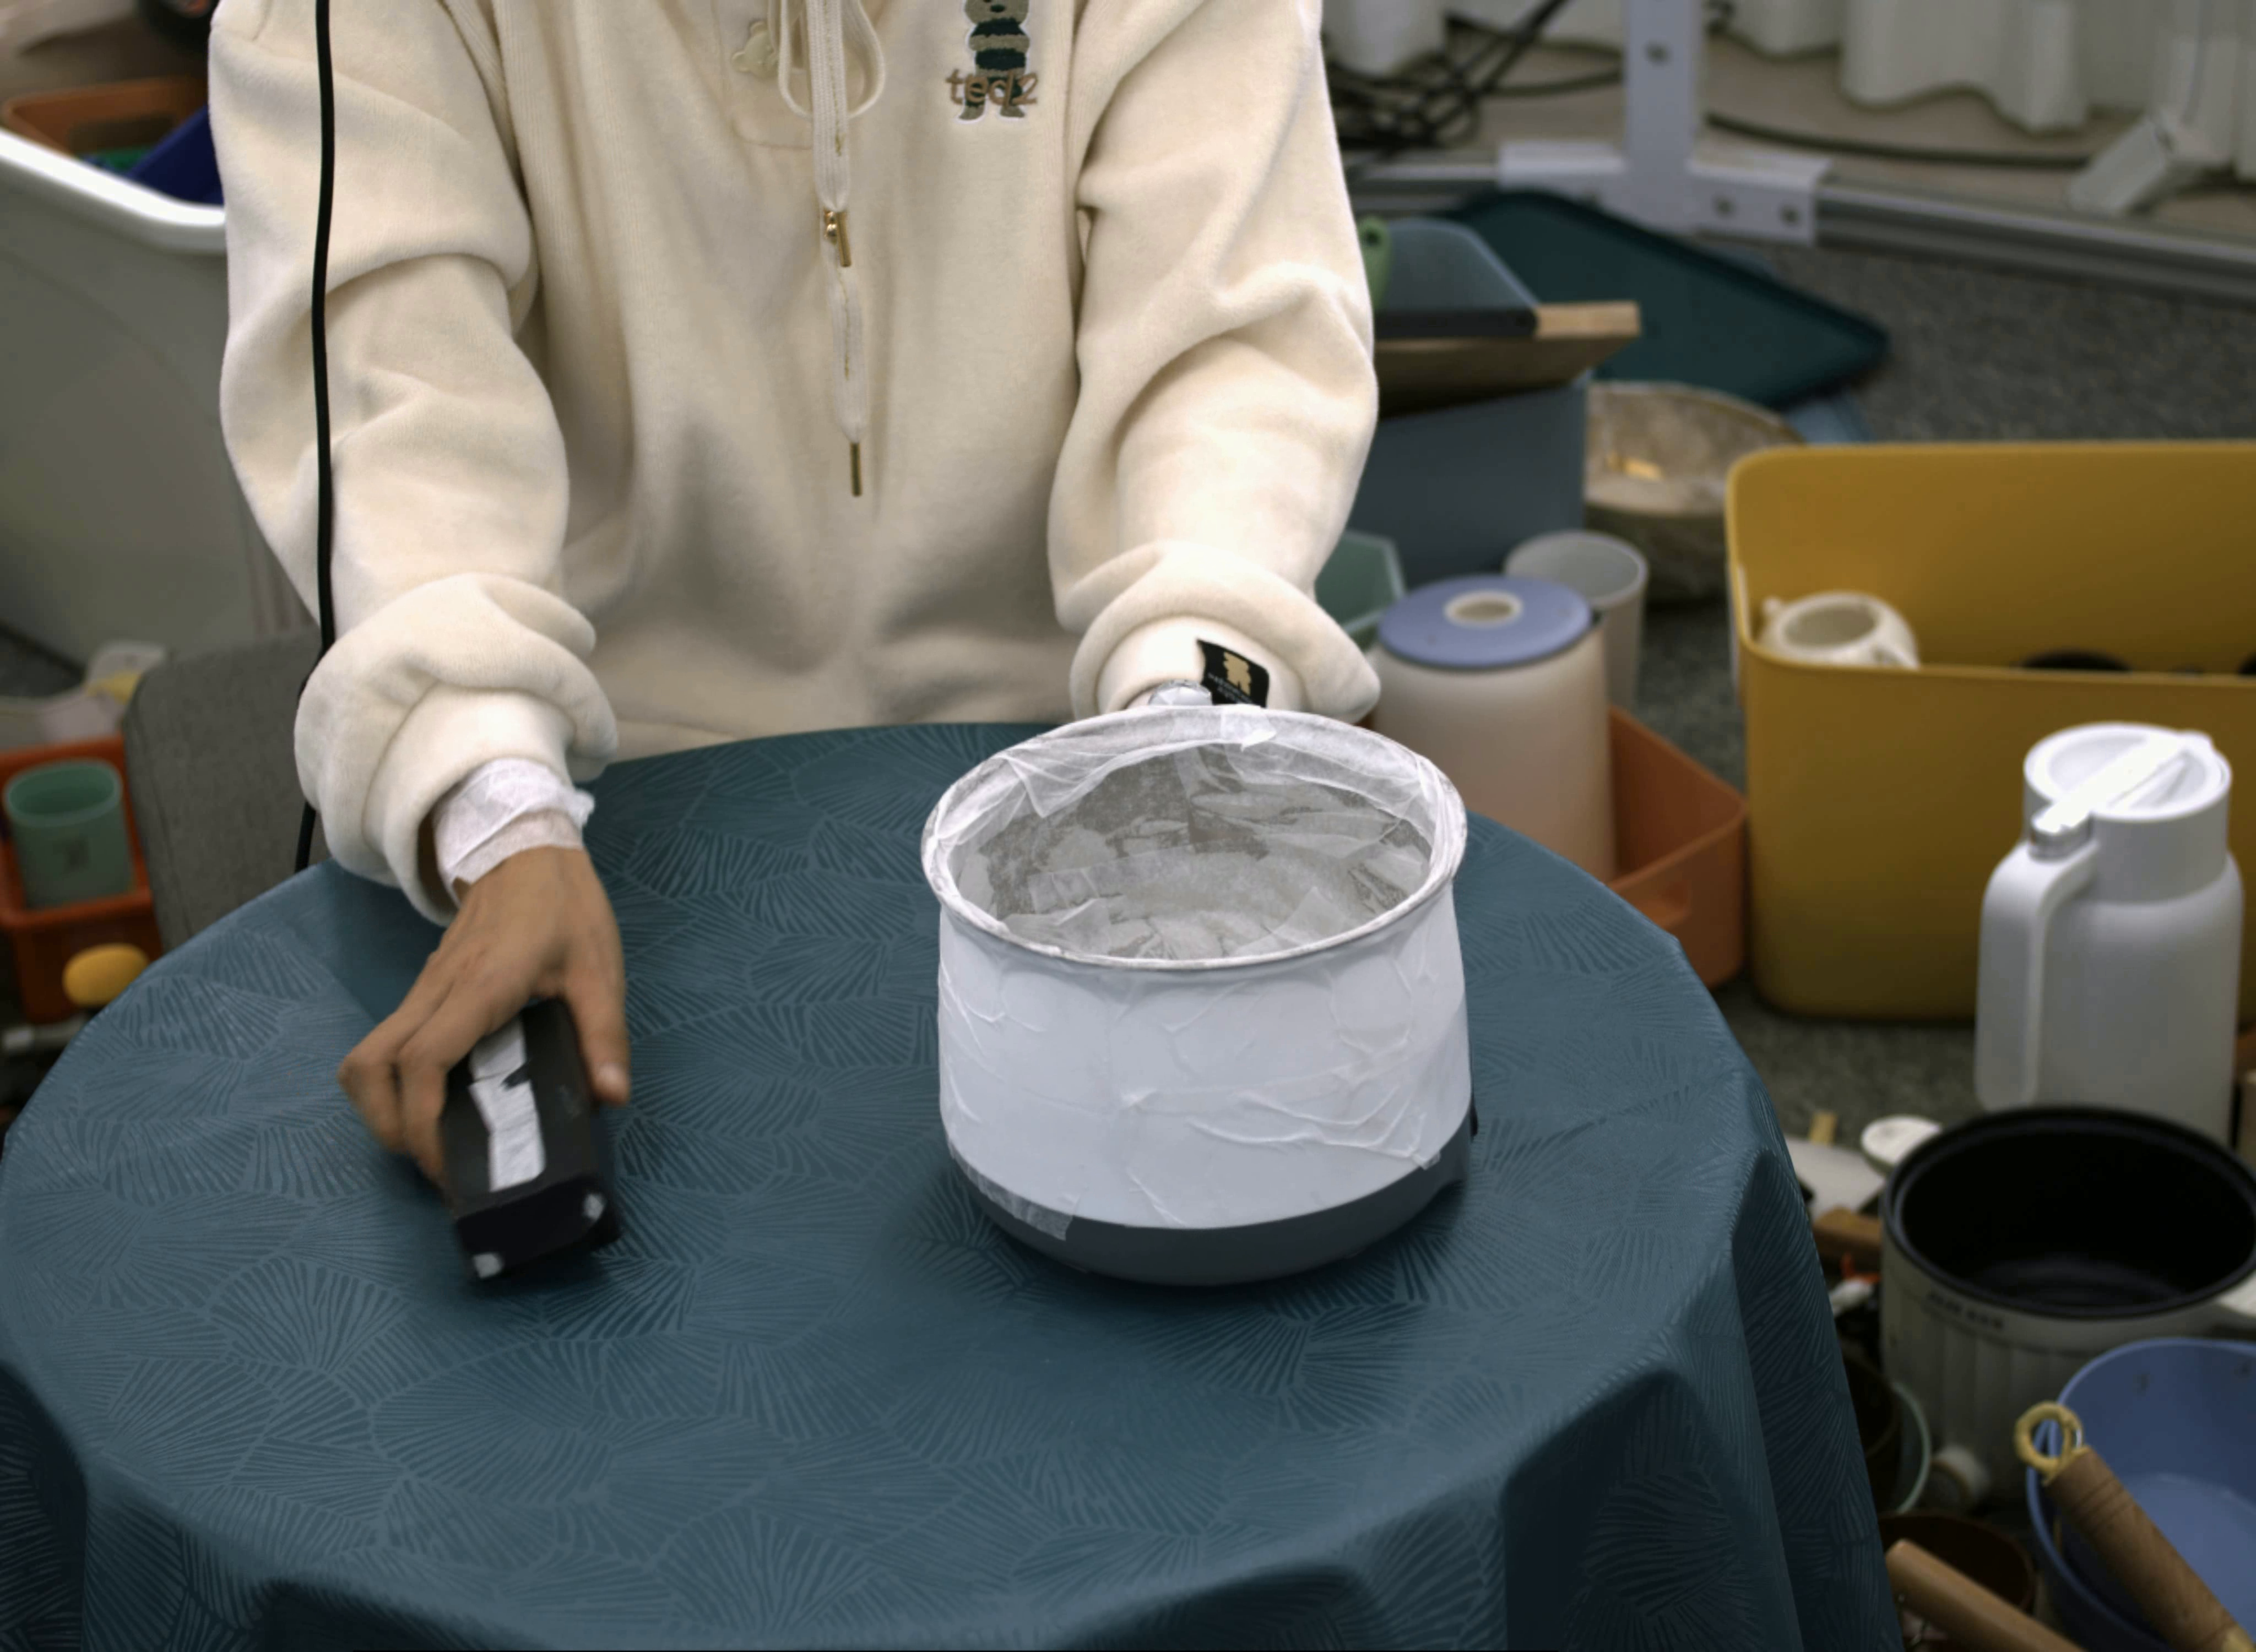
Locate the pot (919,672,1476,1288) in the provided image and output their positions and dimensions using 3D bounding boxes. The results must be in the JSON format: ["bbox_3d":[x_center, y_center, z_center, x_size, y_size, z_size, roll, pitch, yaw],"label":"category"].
[{"bbox_3d":[0.022,0.043,1.860,0.178,0.135,0.237,-4,28,-2],"label":"pot"}]

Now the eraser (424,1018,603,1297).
[{"bbox_3d":[-0.204,0.109,1.862,0.053,0.030,0.127,-16,27,-1],"label":"eraser"}]
